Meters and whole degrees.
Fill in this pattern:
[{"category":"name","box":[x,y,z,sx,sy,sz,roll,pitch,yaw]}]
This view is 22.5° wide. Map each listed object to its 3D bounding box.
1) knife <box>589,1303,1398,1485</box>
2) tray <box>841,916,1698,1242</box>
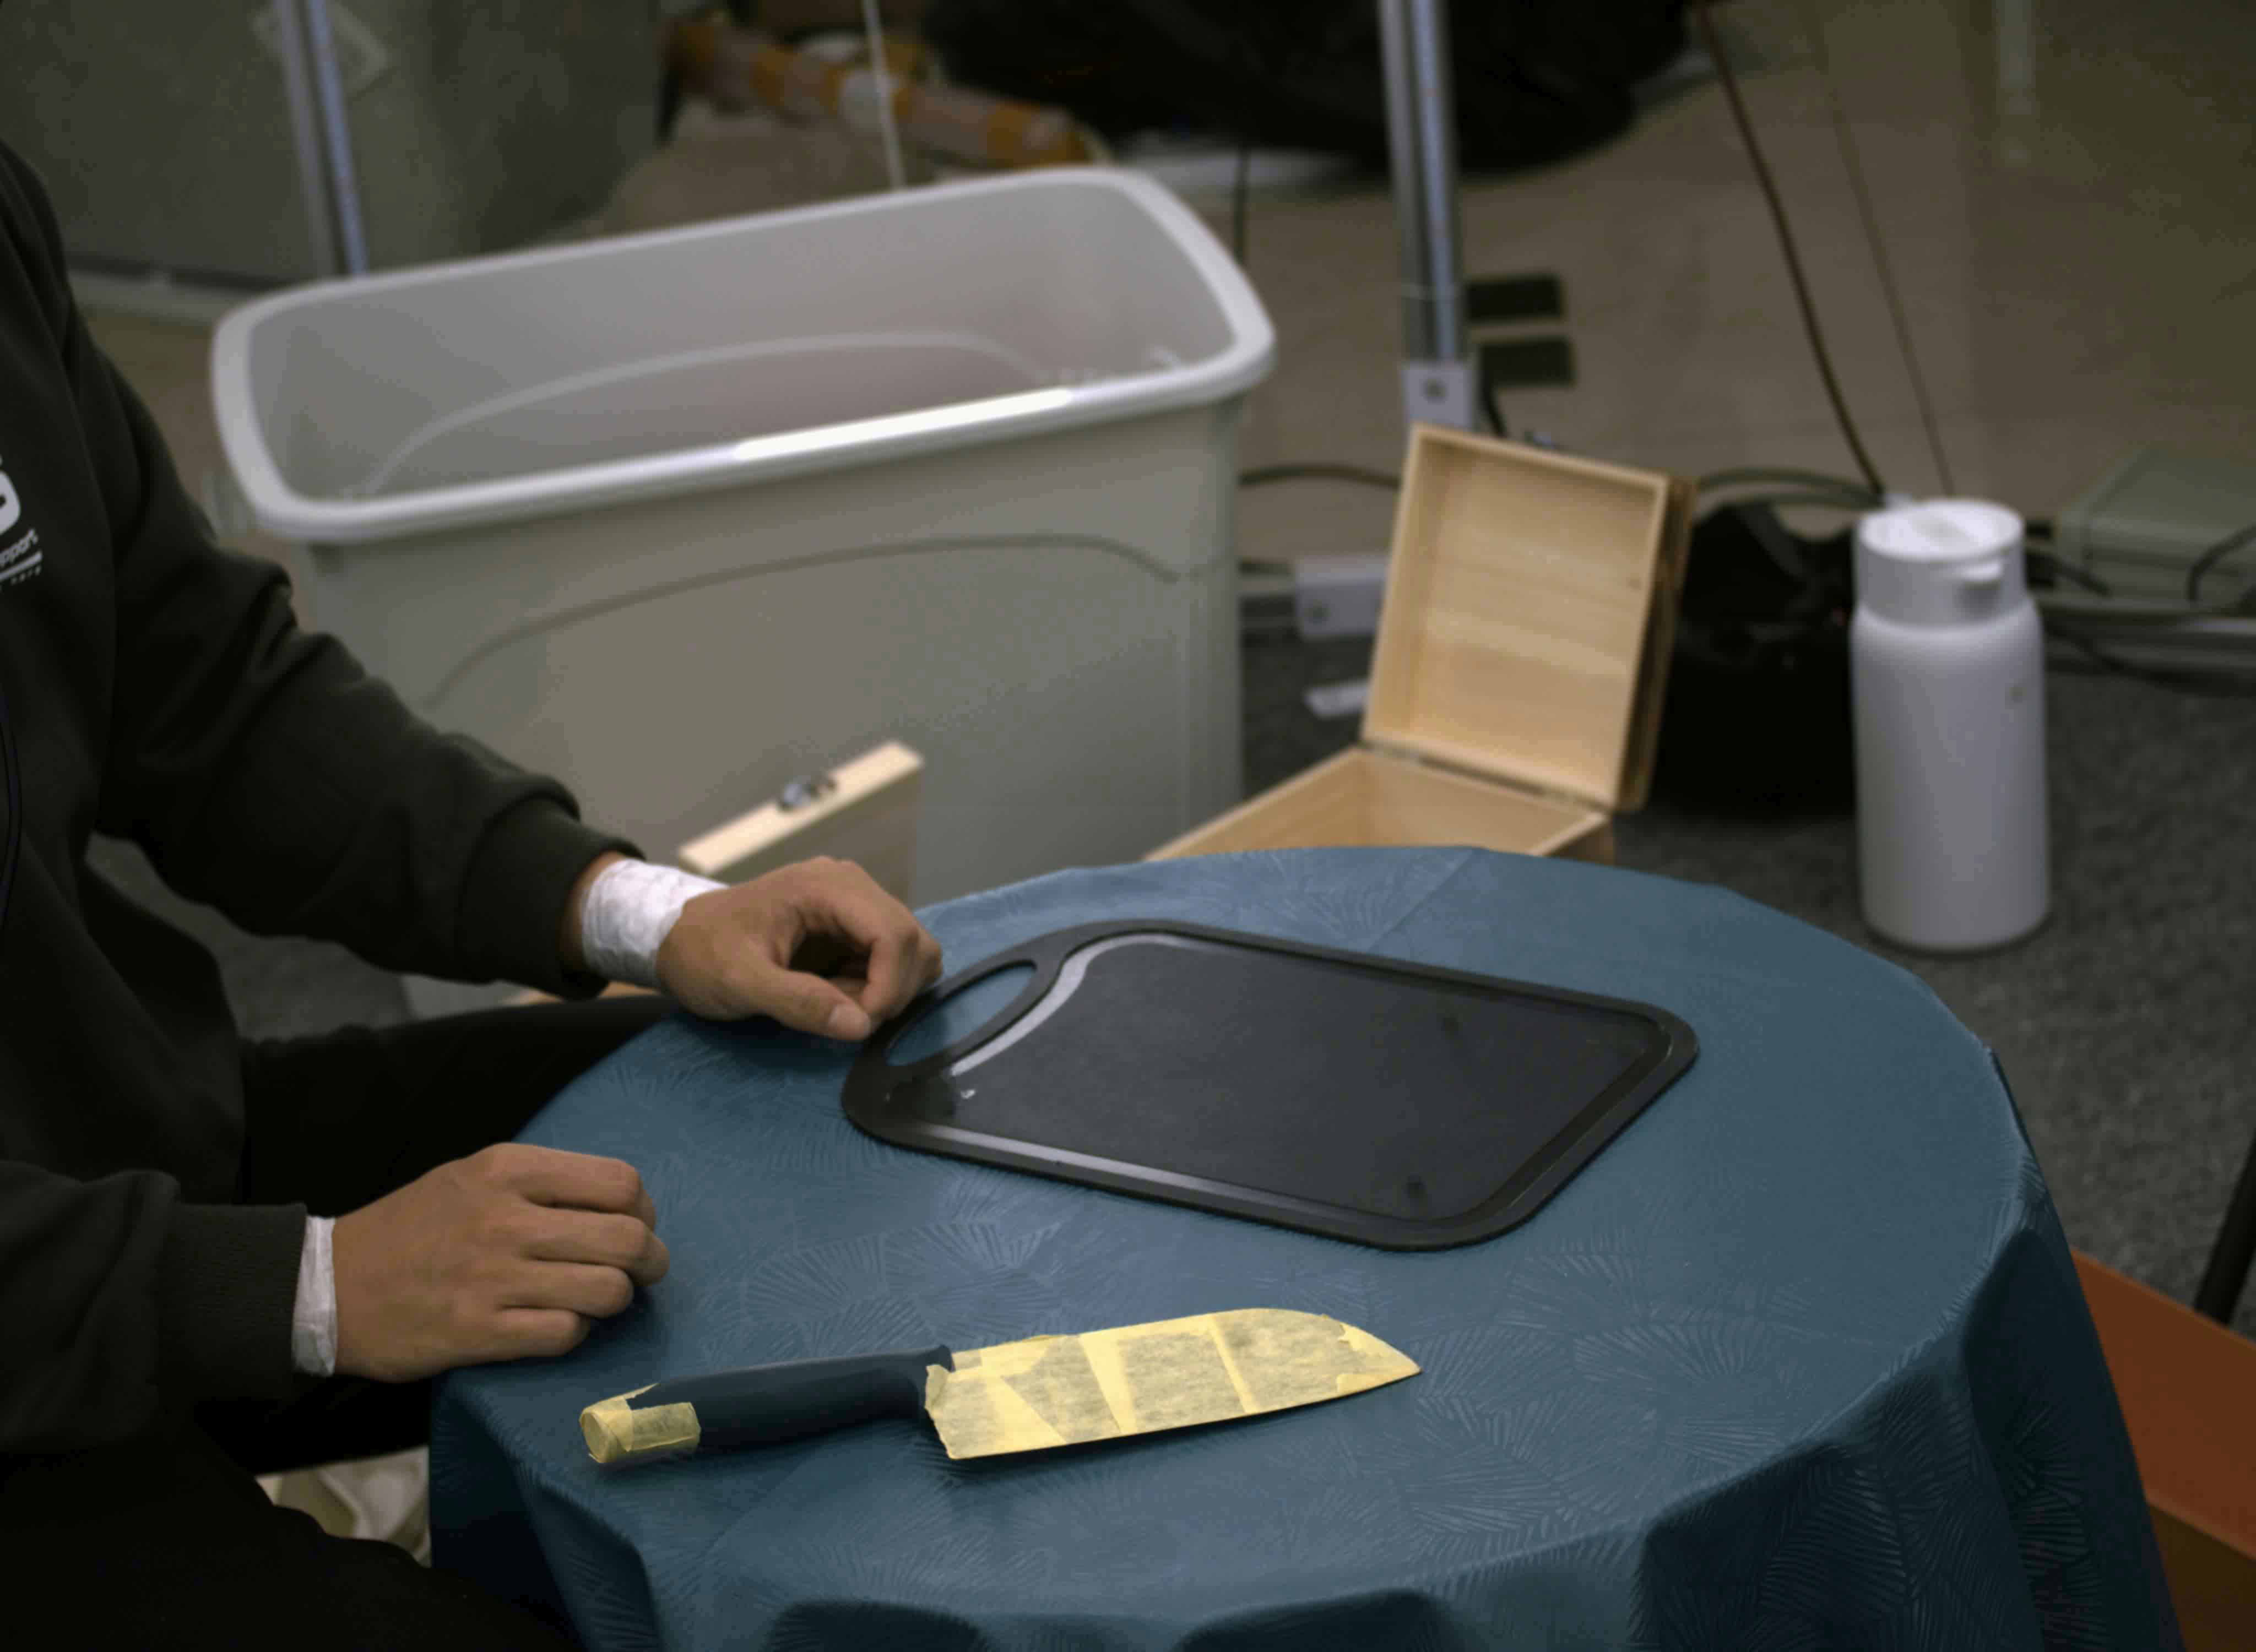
[{"category":"knife","box":[-0.046,0.203,2.007,0.289,0.027,0.080,-8,23,-6]},{"category":"tray","box":[0.047,0.094,2.228,0.324,0.010,0.209,10,29,32]}]
